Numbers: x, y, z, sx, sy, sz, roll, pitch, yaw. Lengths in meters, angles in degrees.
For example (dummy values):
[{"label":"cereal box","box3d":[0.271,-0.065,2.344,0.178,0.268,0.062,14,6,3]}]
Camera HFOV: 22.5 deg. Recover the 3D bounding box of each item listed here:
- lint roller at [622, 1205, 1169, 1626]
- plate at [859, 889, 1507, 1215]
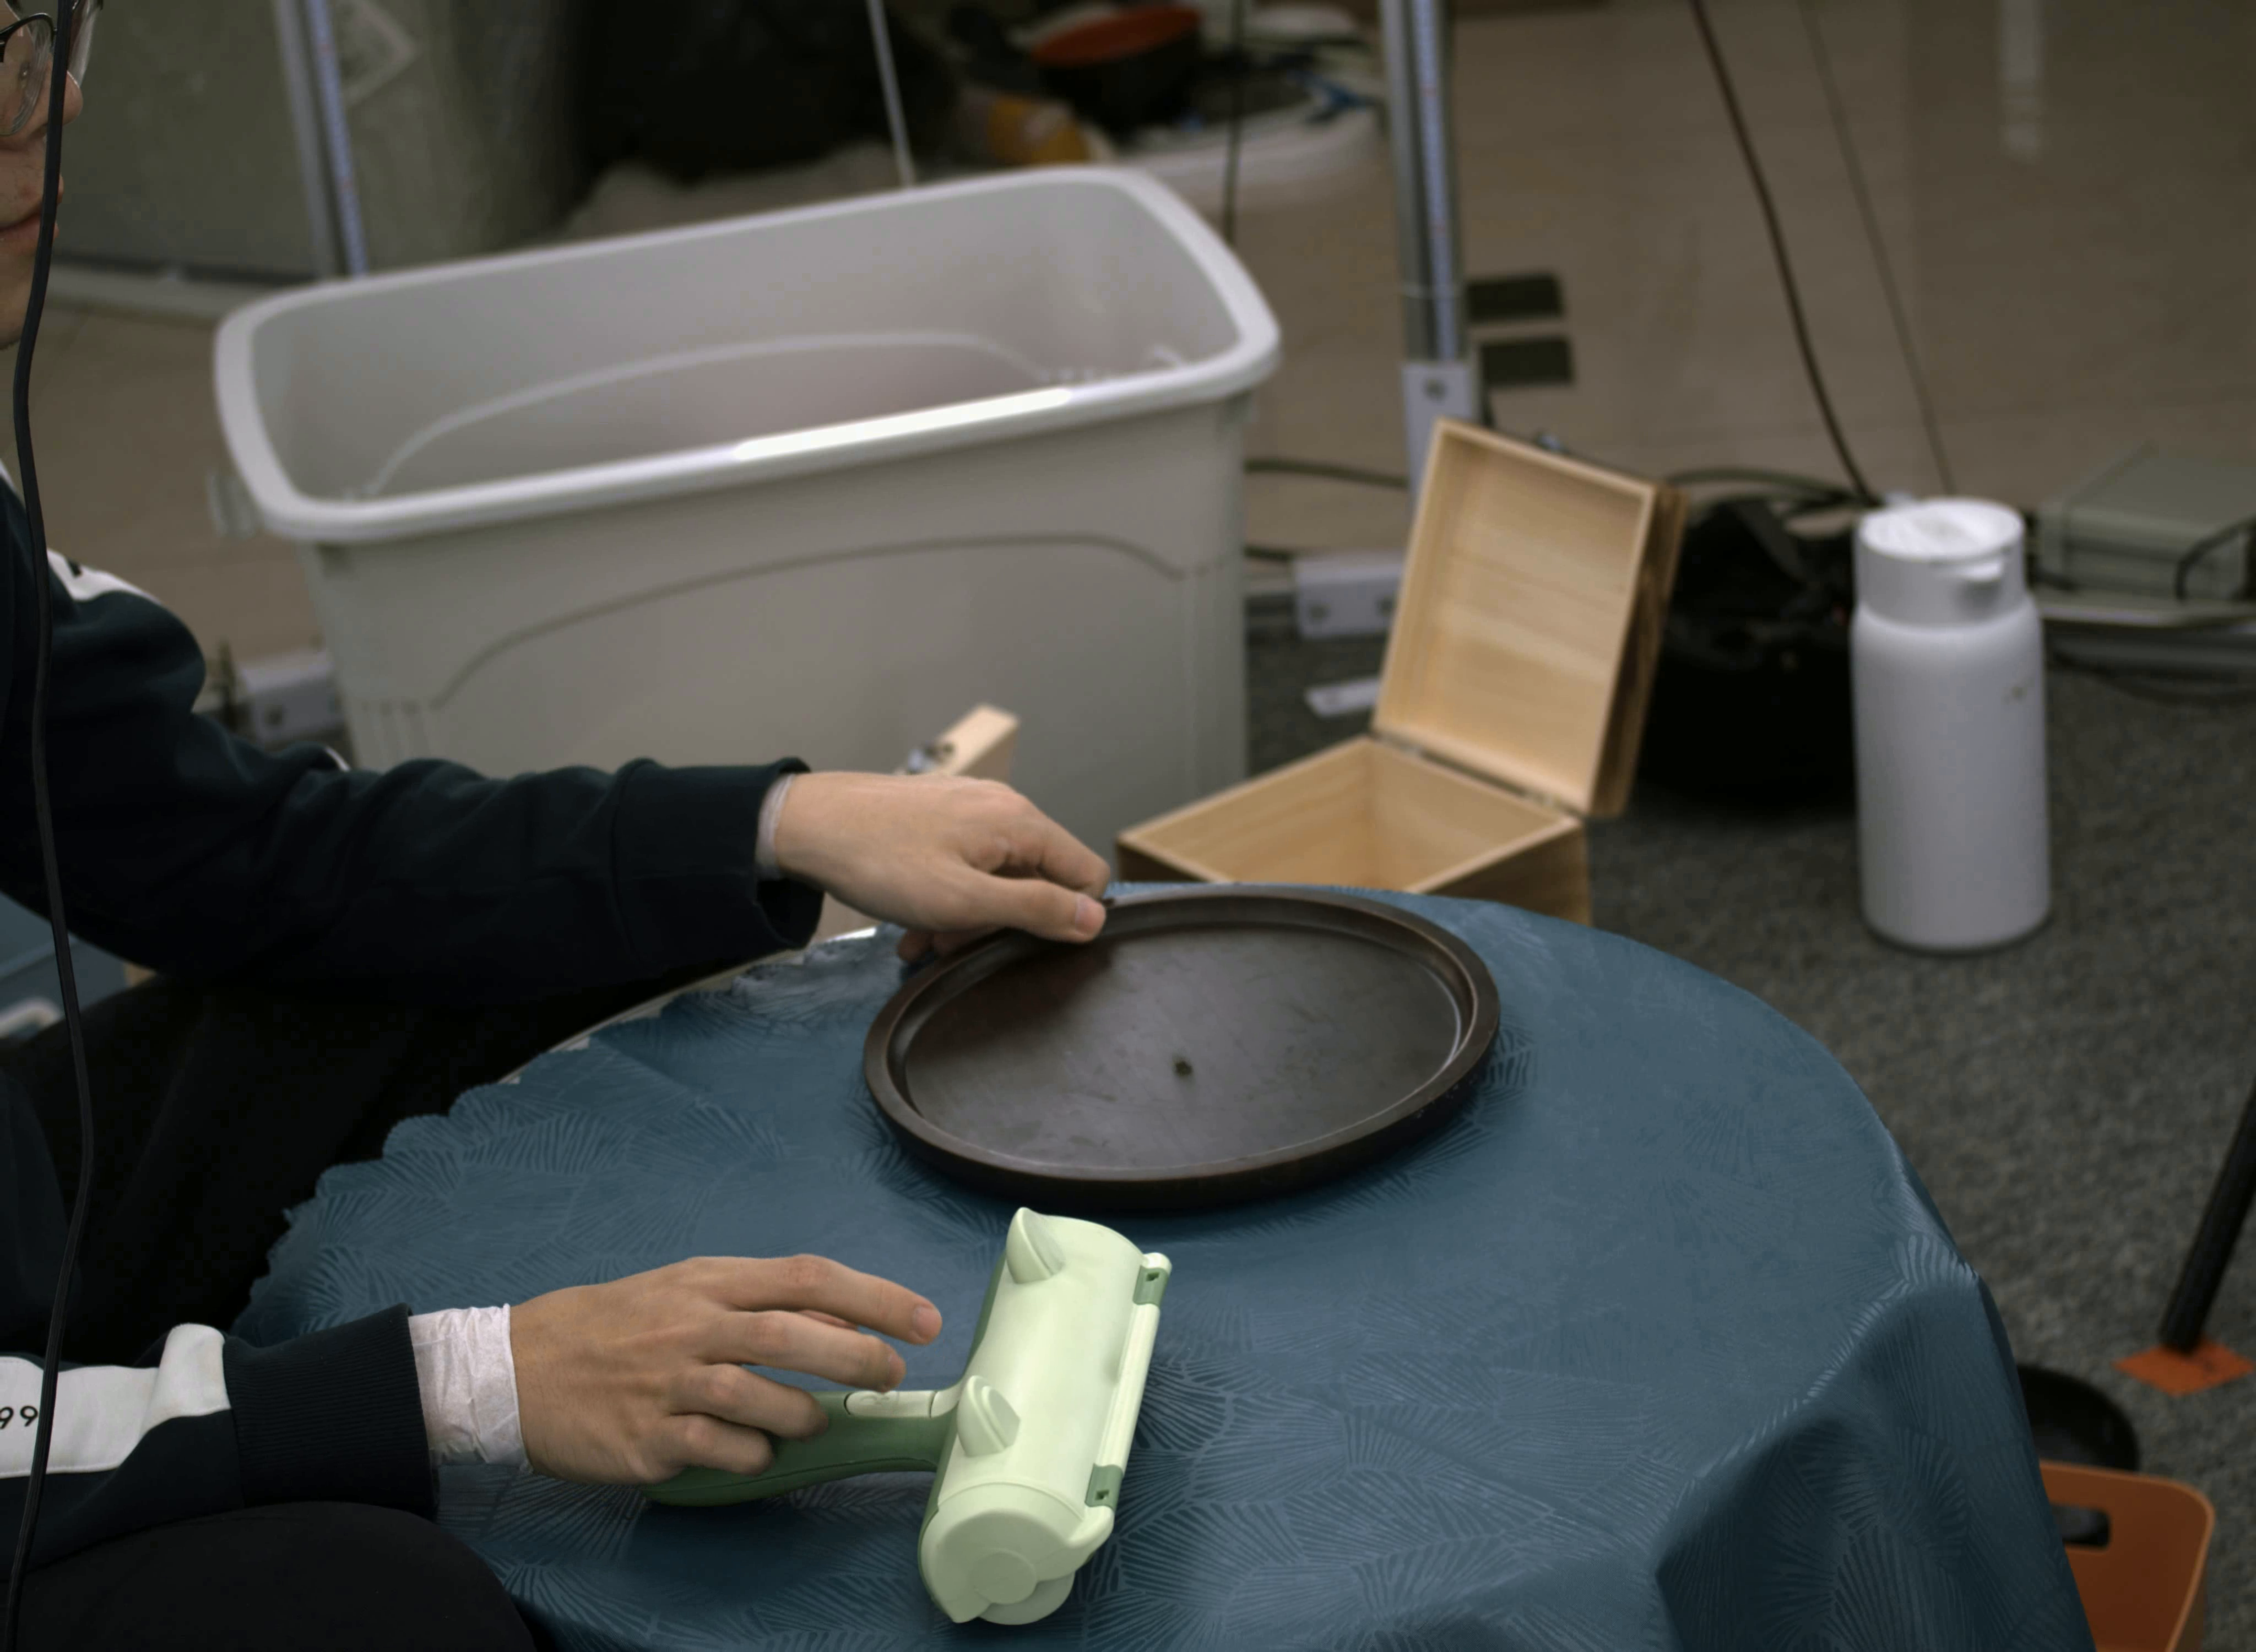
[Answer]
[{"label":"lint roller","box3d":[-0.087,0.194,1.950,0.183,0.083,0.195,1,26,7]},{"label":"plate","box3d":[0.023,0.087,2.222,0.254,0.029,0.251,-5,26,2]}]
